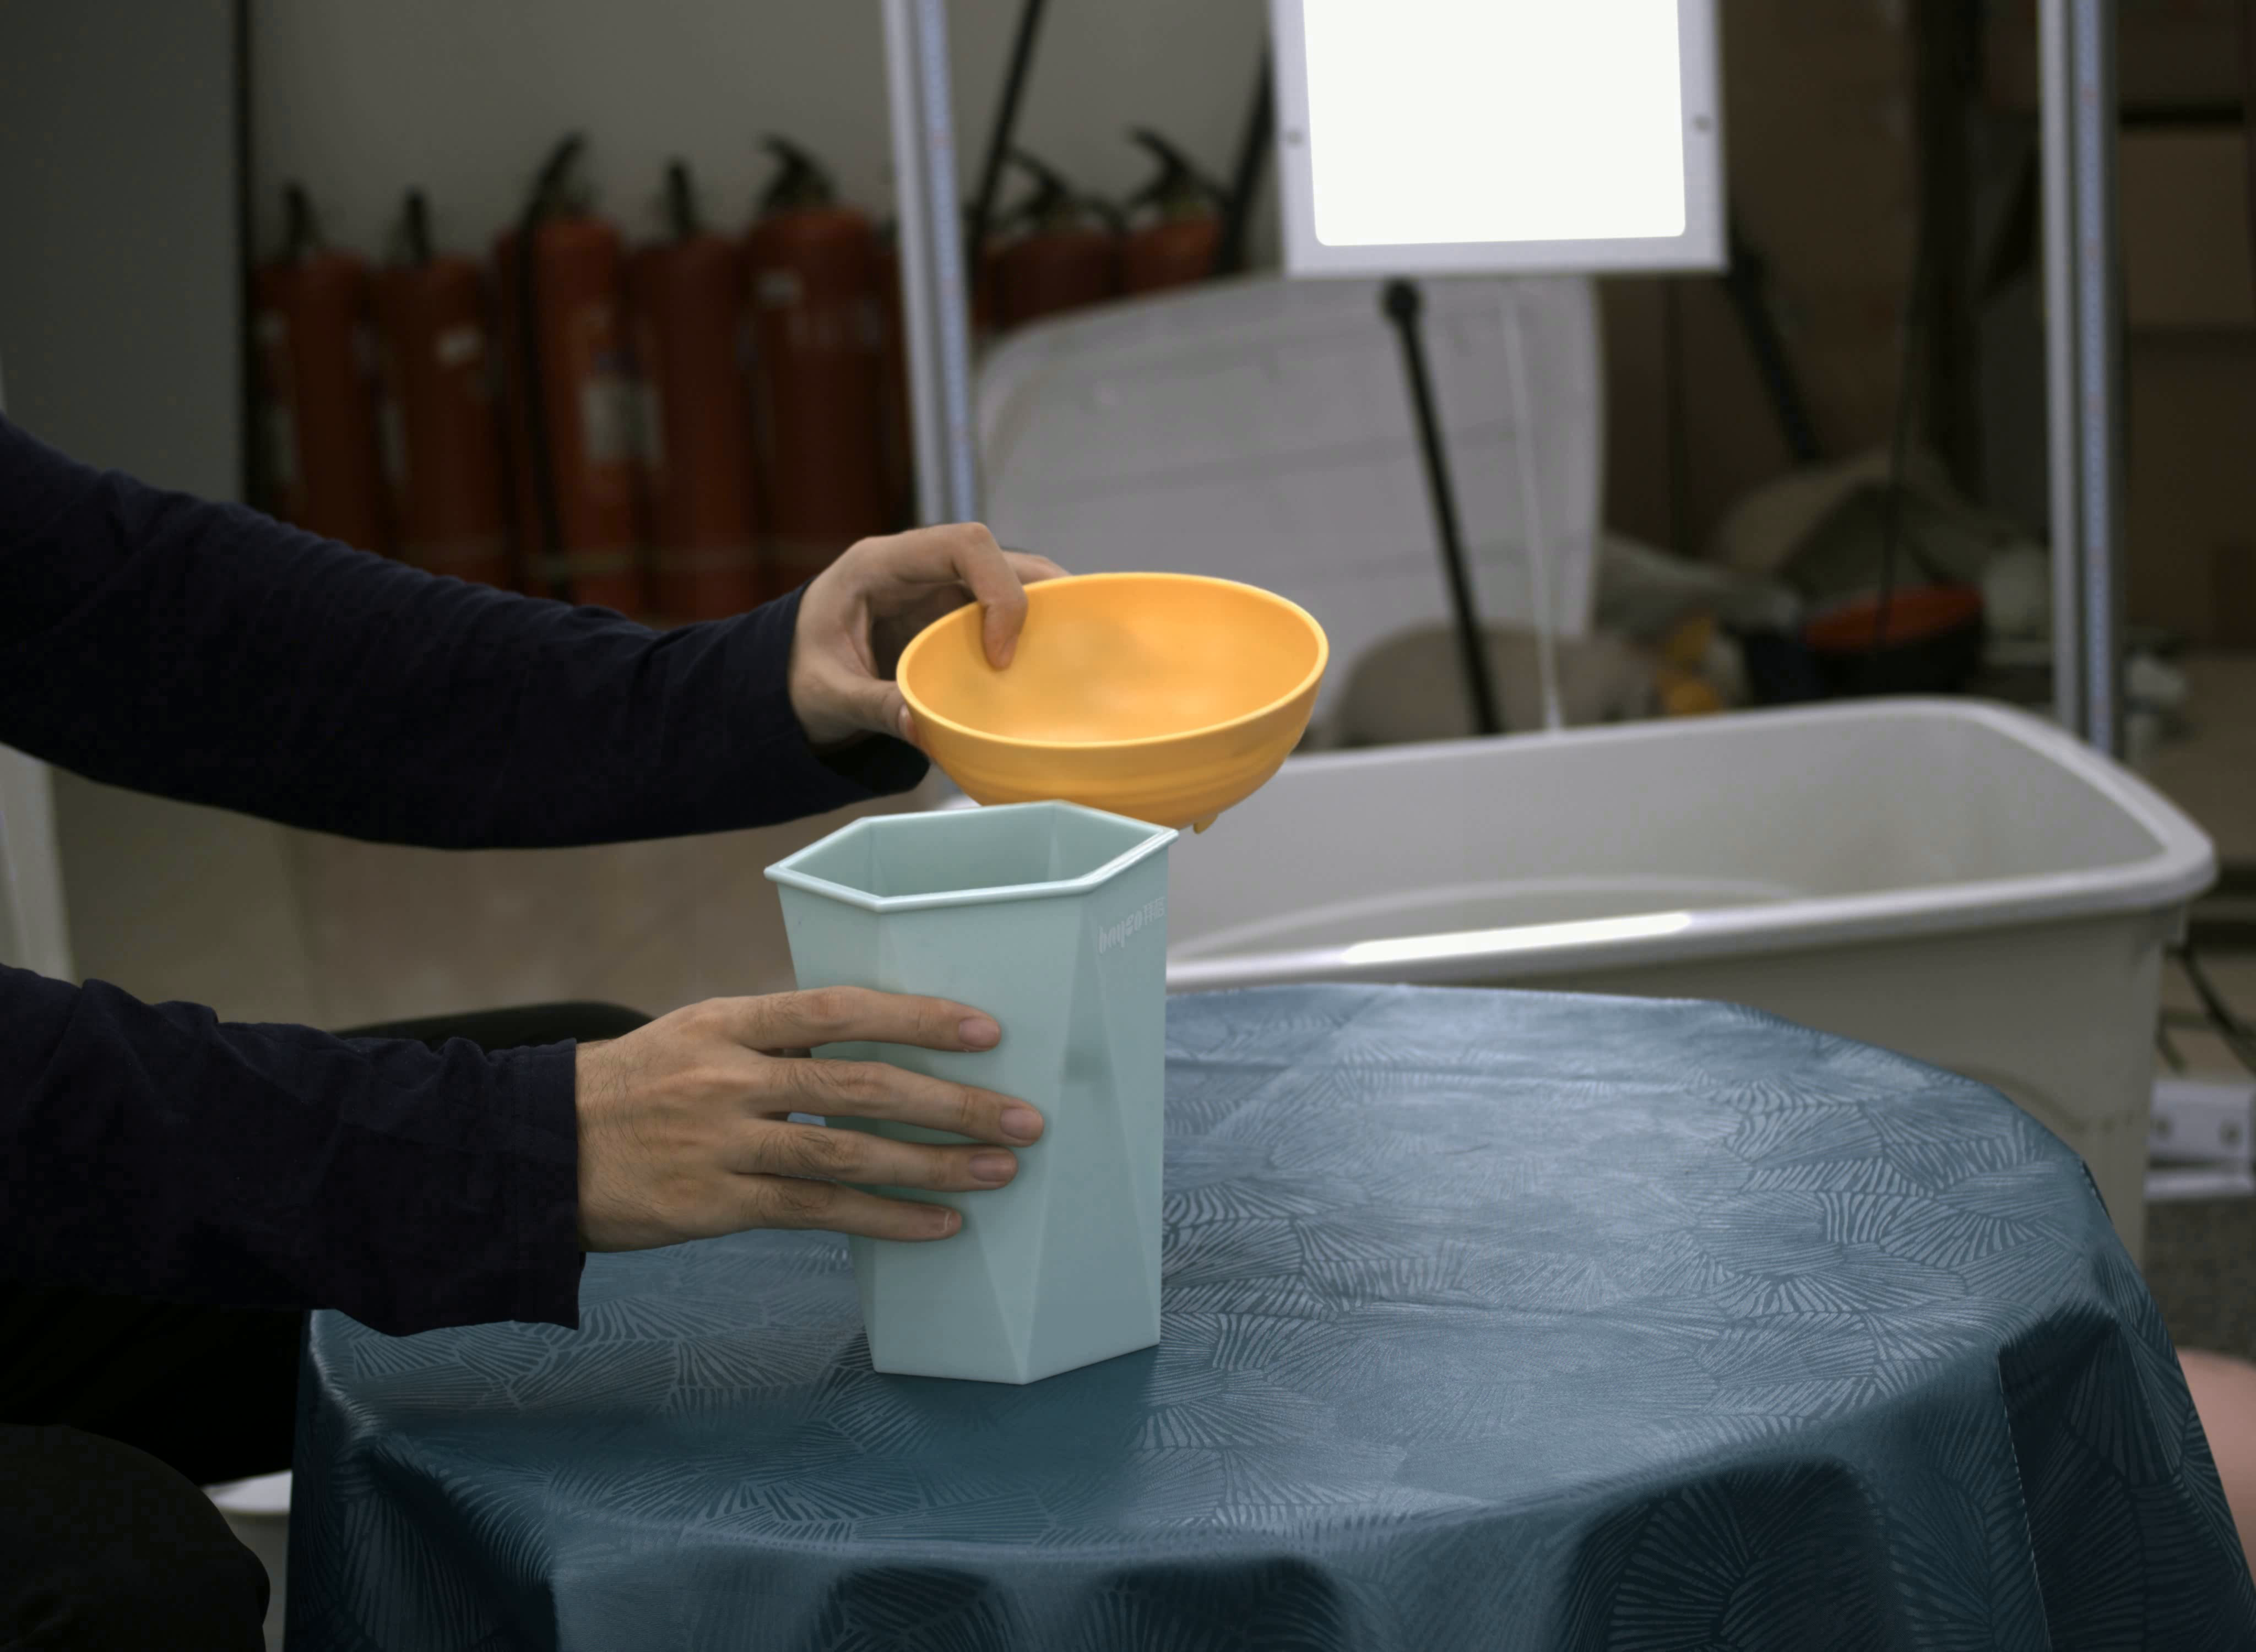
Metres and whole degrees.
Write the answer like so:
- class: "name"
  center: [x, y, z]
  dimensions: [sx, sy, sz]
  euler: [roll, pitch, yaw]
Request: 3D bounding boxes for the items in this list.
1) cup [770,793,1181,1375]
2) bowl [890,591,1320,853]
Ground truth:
- class: "cup"
  center: [-0.042, 0.081, 1.745]
  dimensions: [0.117, 0.163, 0.128]
  euler: [2, 14, 25]
- class: "bowl"
  center: [-0.005, -0.028, 1.846]
  dimensions: [0.145, 0.060, 0.145]
  euler: [-6, 22, 1]
